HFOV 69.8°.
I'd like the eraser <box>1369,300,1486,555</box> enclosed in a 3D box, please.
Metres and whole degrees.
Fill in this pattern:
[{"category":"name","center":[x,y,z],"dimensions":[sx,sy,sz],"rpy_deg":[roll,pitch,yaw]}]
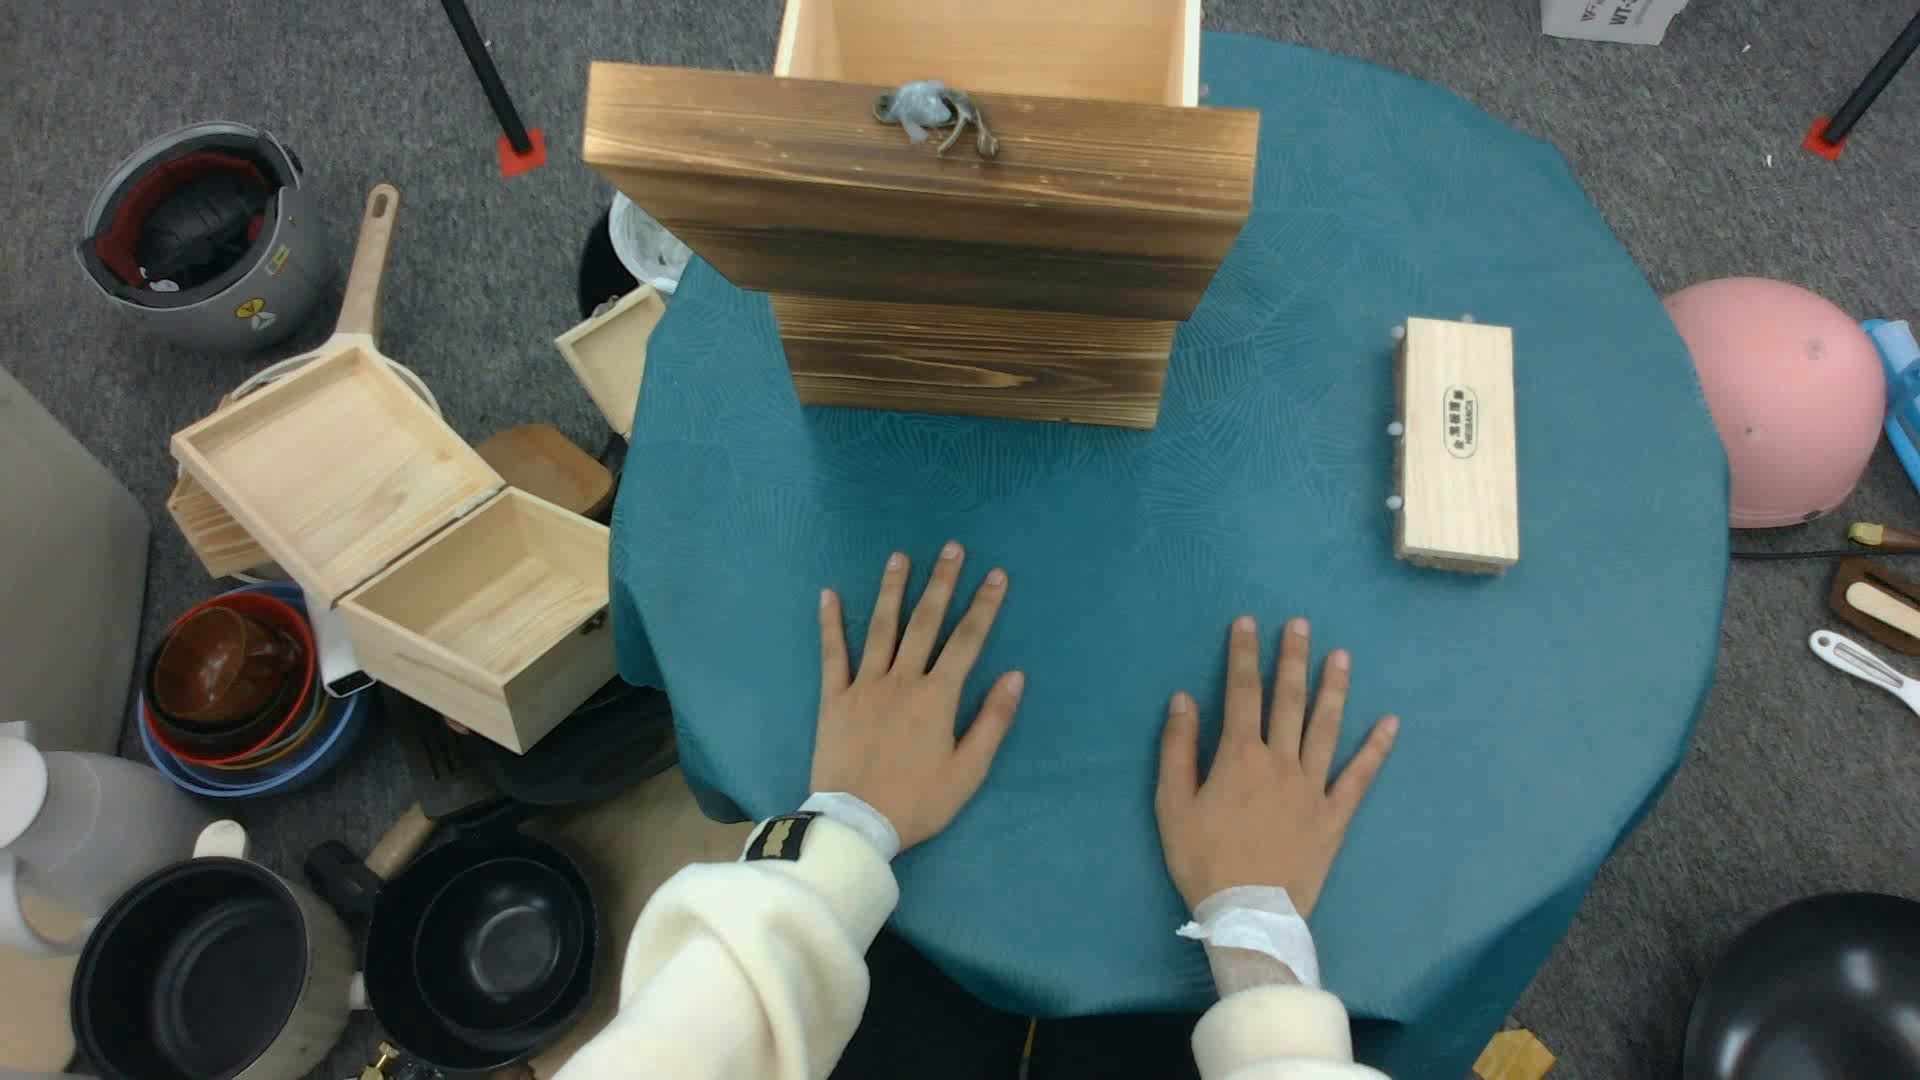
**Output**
[{"category":"eraser","center":[0.251,-0.061,0.743],"dimensions":[0.057,0.029,0.140],"rpy_deg":[9,67,2]}]

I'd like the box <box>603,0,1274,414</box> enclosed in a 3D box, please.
[{"category":"box","center":[0.000,-0.195,0.624],"dimensions":[0.209,0.374,0.323],"rpy_deg":[4,66,2]}]
